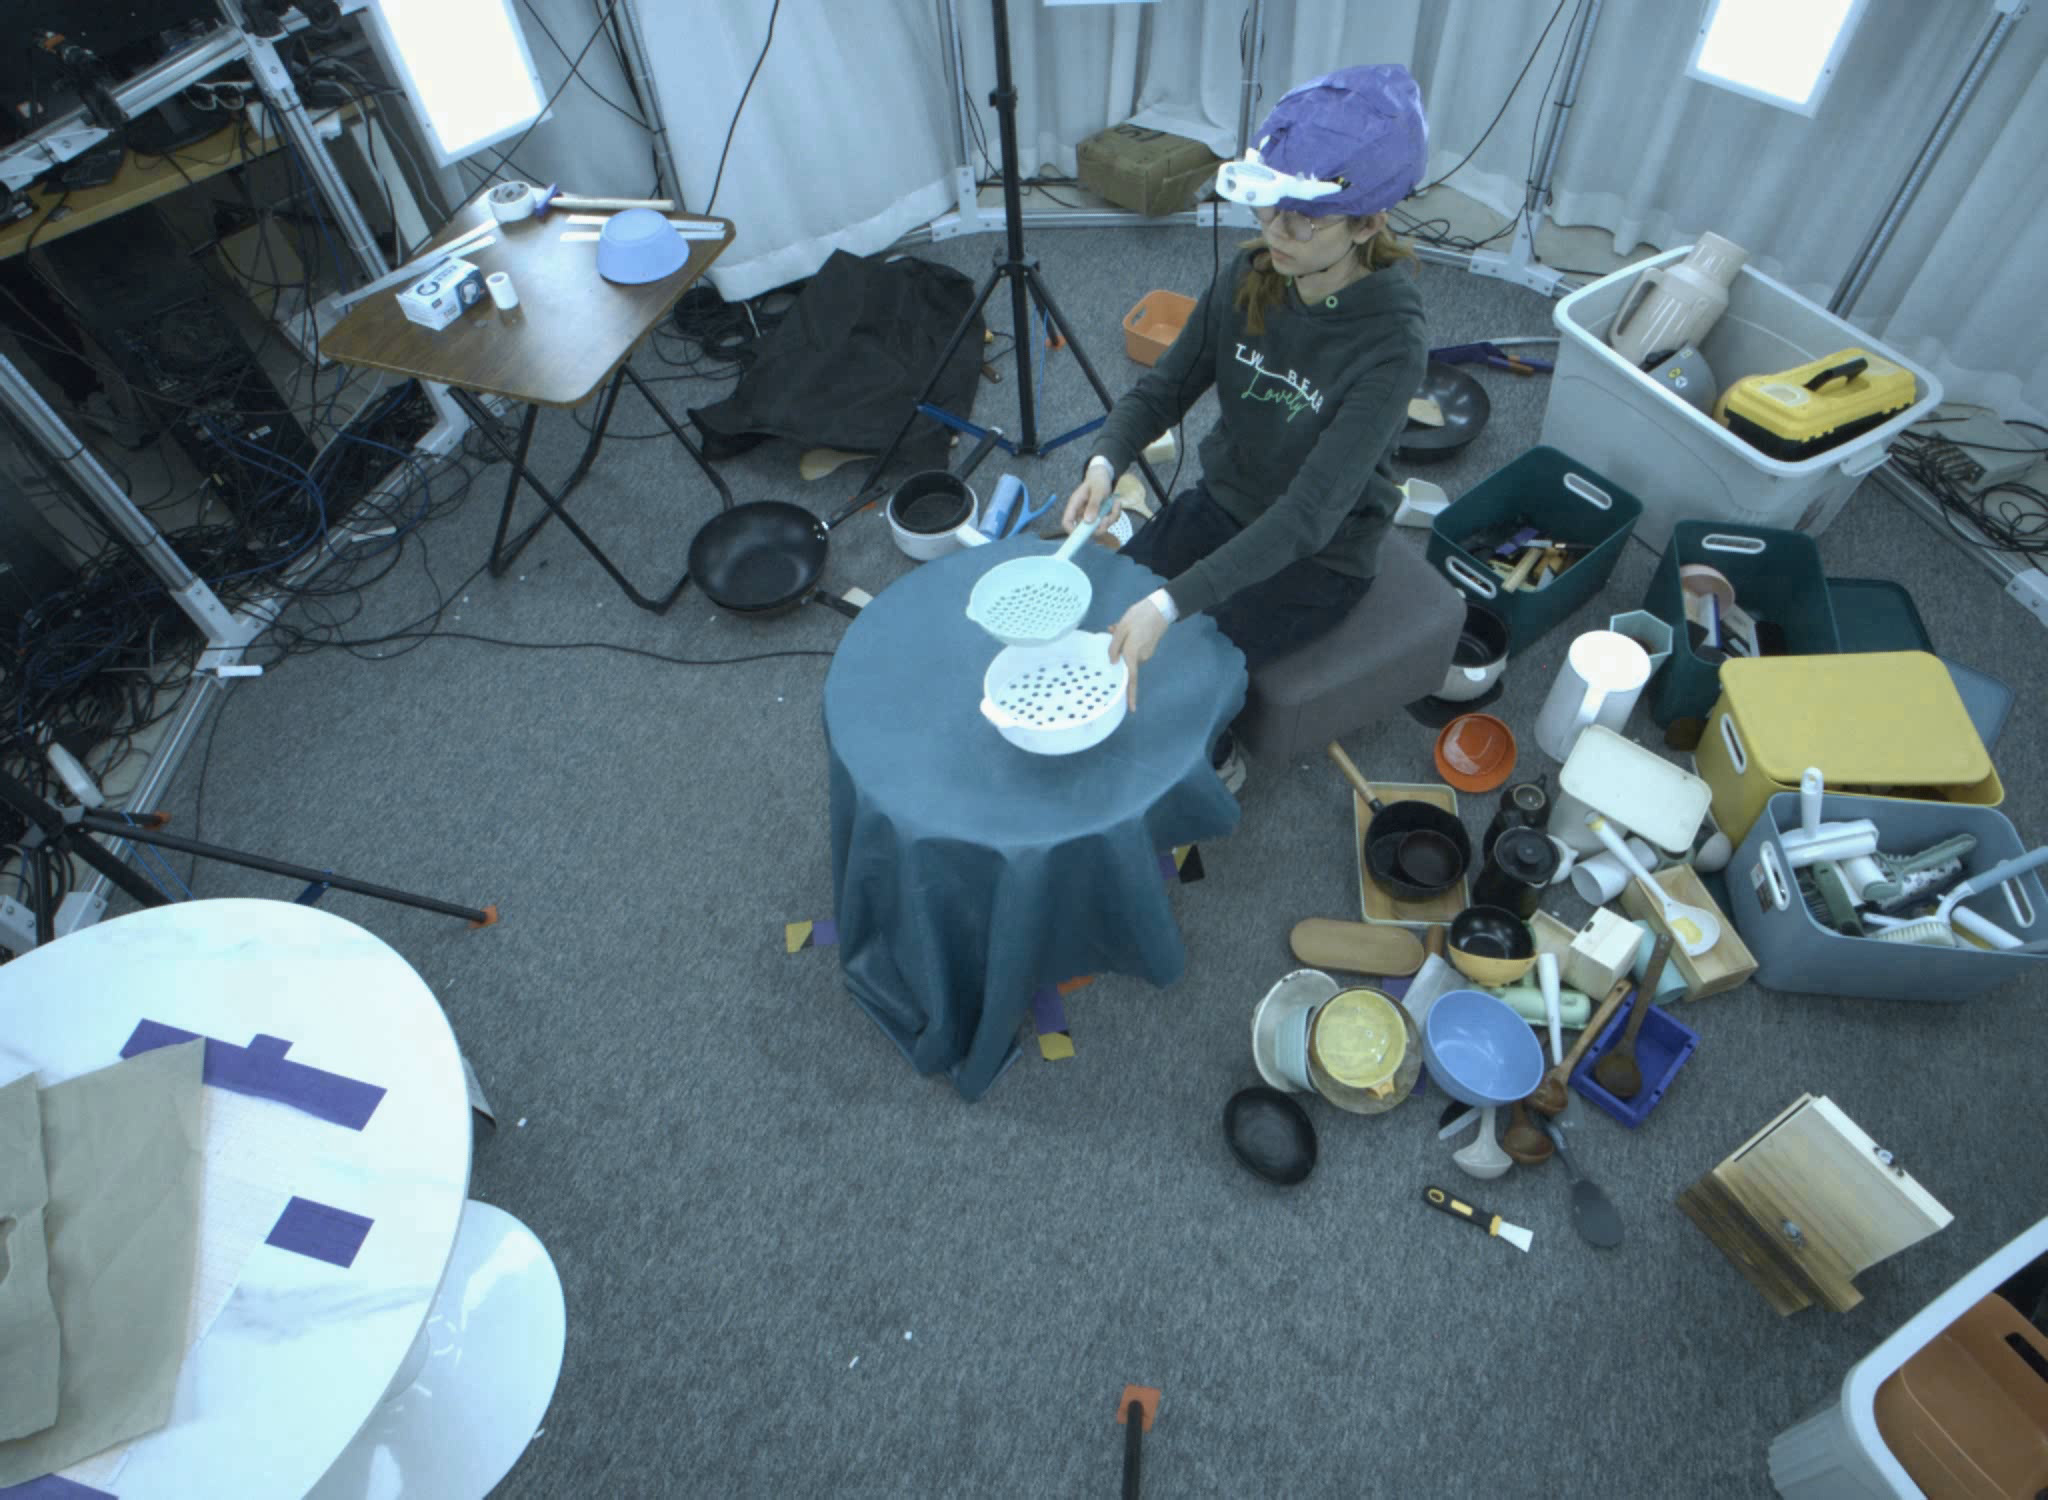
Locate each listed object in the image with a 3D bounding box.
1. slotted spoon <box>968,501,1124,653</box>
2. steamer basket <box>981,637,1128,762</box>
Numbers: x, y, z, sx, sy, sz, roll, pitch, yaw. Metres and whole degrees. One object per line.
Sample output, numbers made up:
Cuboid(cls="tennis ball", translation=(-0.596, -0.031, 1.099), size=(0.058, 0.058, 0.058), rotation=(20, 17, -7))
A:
Cuboid(cls="slotted spoon", translation=(0.059, -0.264, 1.762), size=(0.167, 0.076, 0.359), rotation=(20, 61, 19))
Cuboid(cls="steamer basket", translation=(0.046, -0.071, 1.736), size=(0.232, 0.070, 0.197), rotation=(-32, 54, -21))
